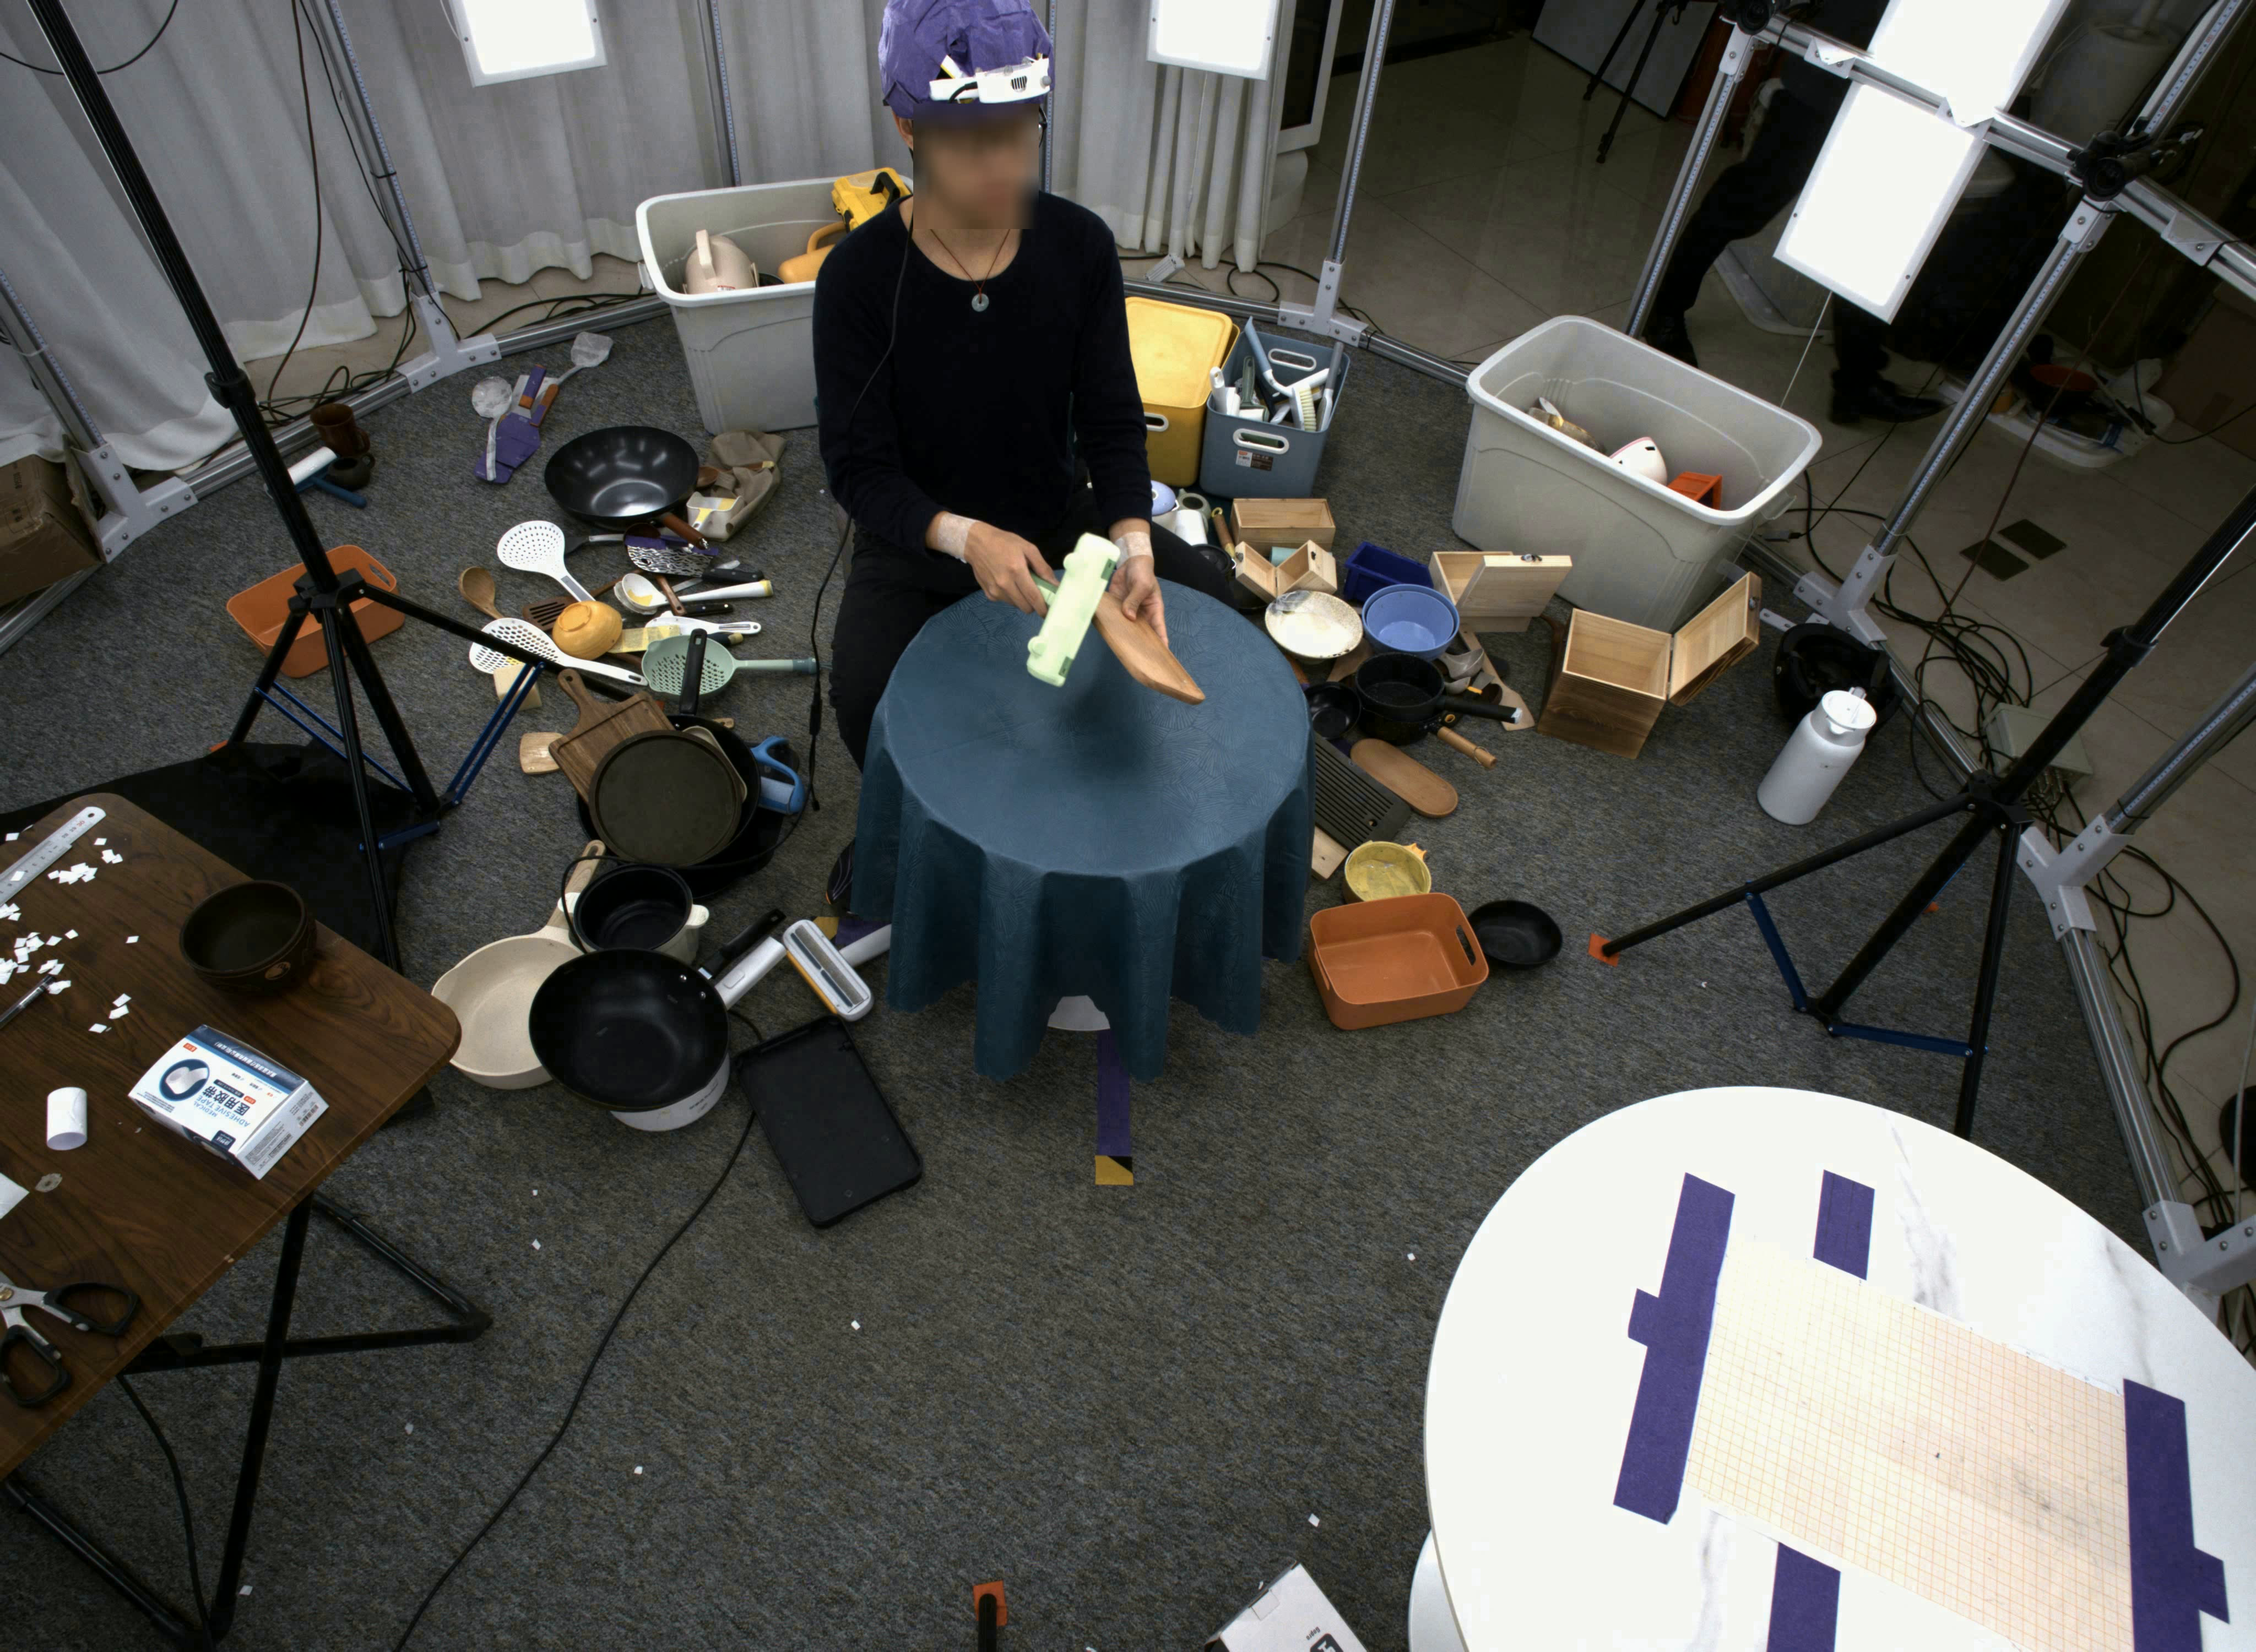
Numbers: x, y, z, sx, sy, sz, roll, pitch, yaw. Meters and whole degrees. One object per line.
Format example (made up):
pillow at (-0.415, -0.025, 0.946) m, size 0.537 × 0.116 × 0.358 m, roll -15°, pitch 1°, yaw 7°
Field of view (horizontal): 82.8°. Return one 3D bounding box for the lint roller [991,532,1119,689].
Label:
lint roller at (-0.120, -0.303, 1.669) m, size 0.185 × 0.197 × 0.082 m, roll 30°, pitch 14°, yaw 22°

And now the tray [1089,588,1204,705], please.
tray at (0.006, -0.245, 1.687) m, size 0.129 × 0.022 × 0.256 m, roll 21°, pitch 26°, yaw -40°
